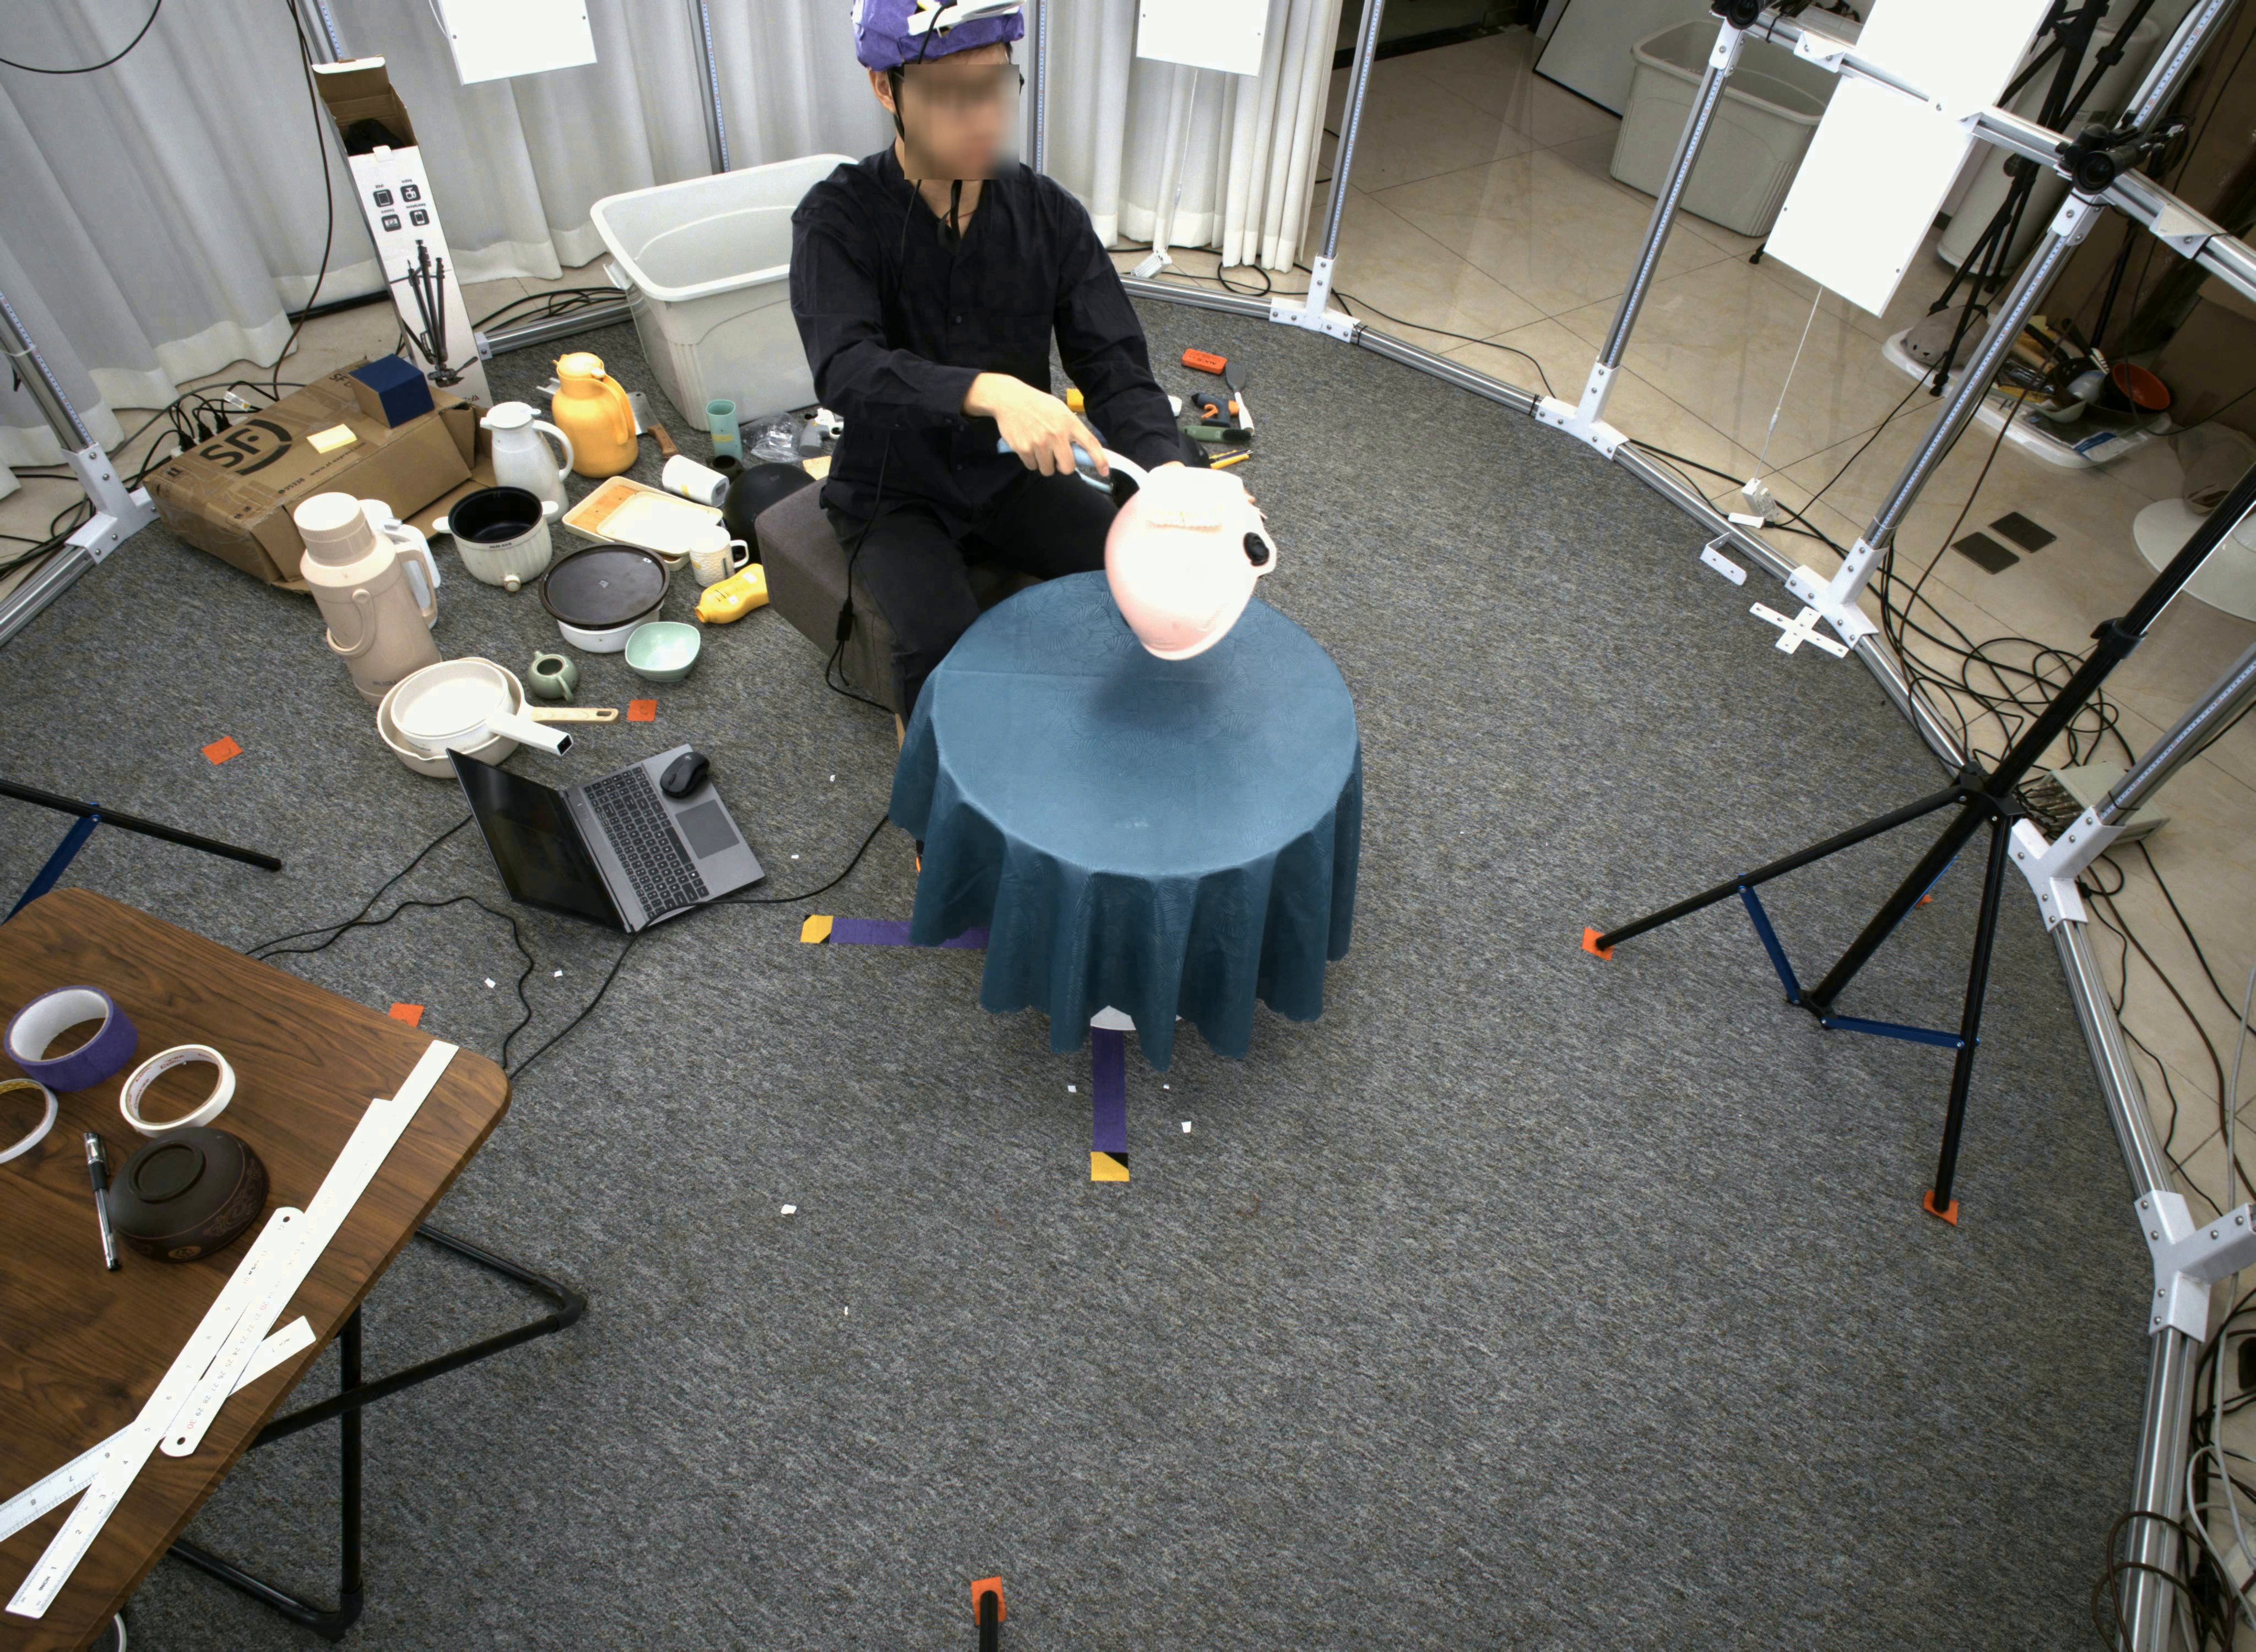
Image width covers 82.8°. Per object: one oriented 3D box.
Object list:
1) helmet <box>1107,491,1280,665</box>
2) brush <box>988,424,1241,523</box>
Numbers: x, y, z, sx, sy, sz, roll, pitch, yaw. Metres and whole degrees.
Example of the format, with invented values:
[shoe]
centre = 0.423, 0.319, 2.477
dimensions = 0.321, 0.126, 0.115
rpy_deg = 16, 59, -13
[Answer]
[helmet]
centre = 0.066, -0.360, 1.710
dimensions = 0.232, 0.156, 0.272
rpy_deg = -24, 46, 32
[brush]
centre = -0.017, -0.441, 1.630
dimensions = 0.326, 0.083, 0.084
rpy_deg = 13, 25, 8
